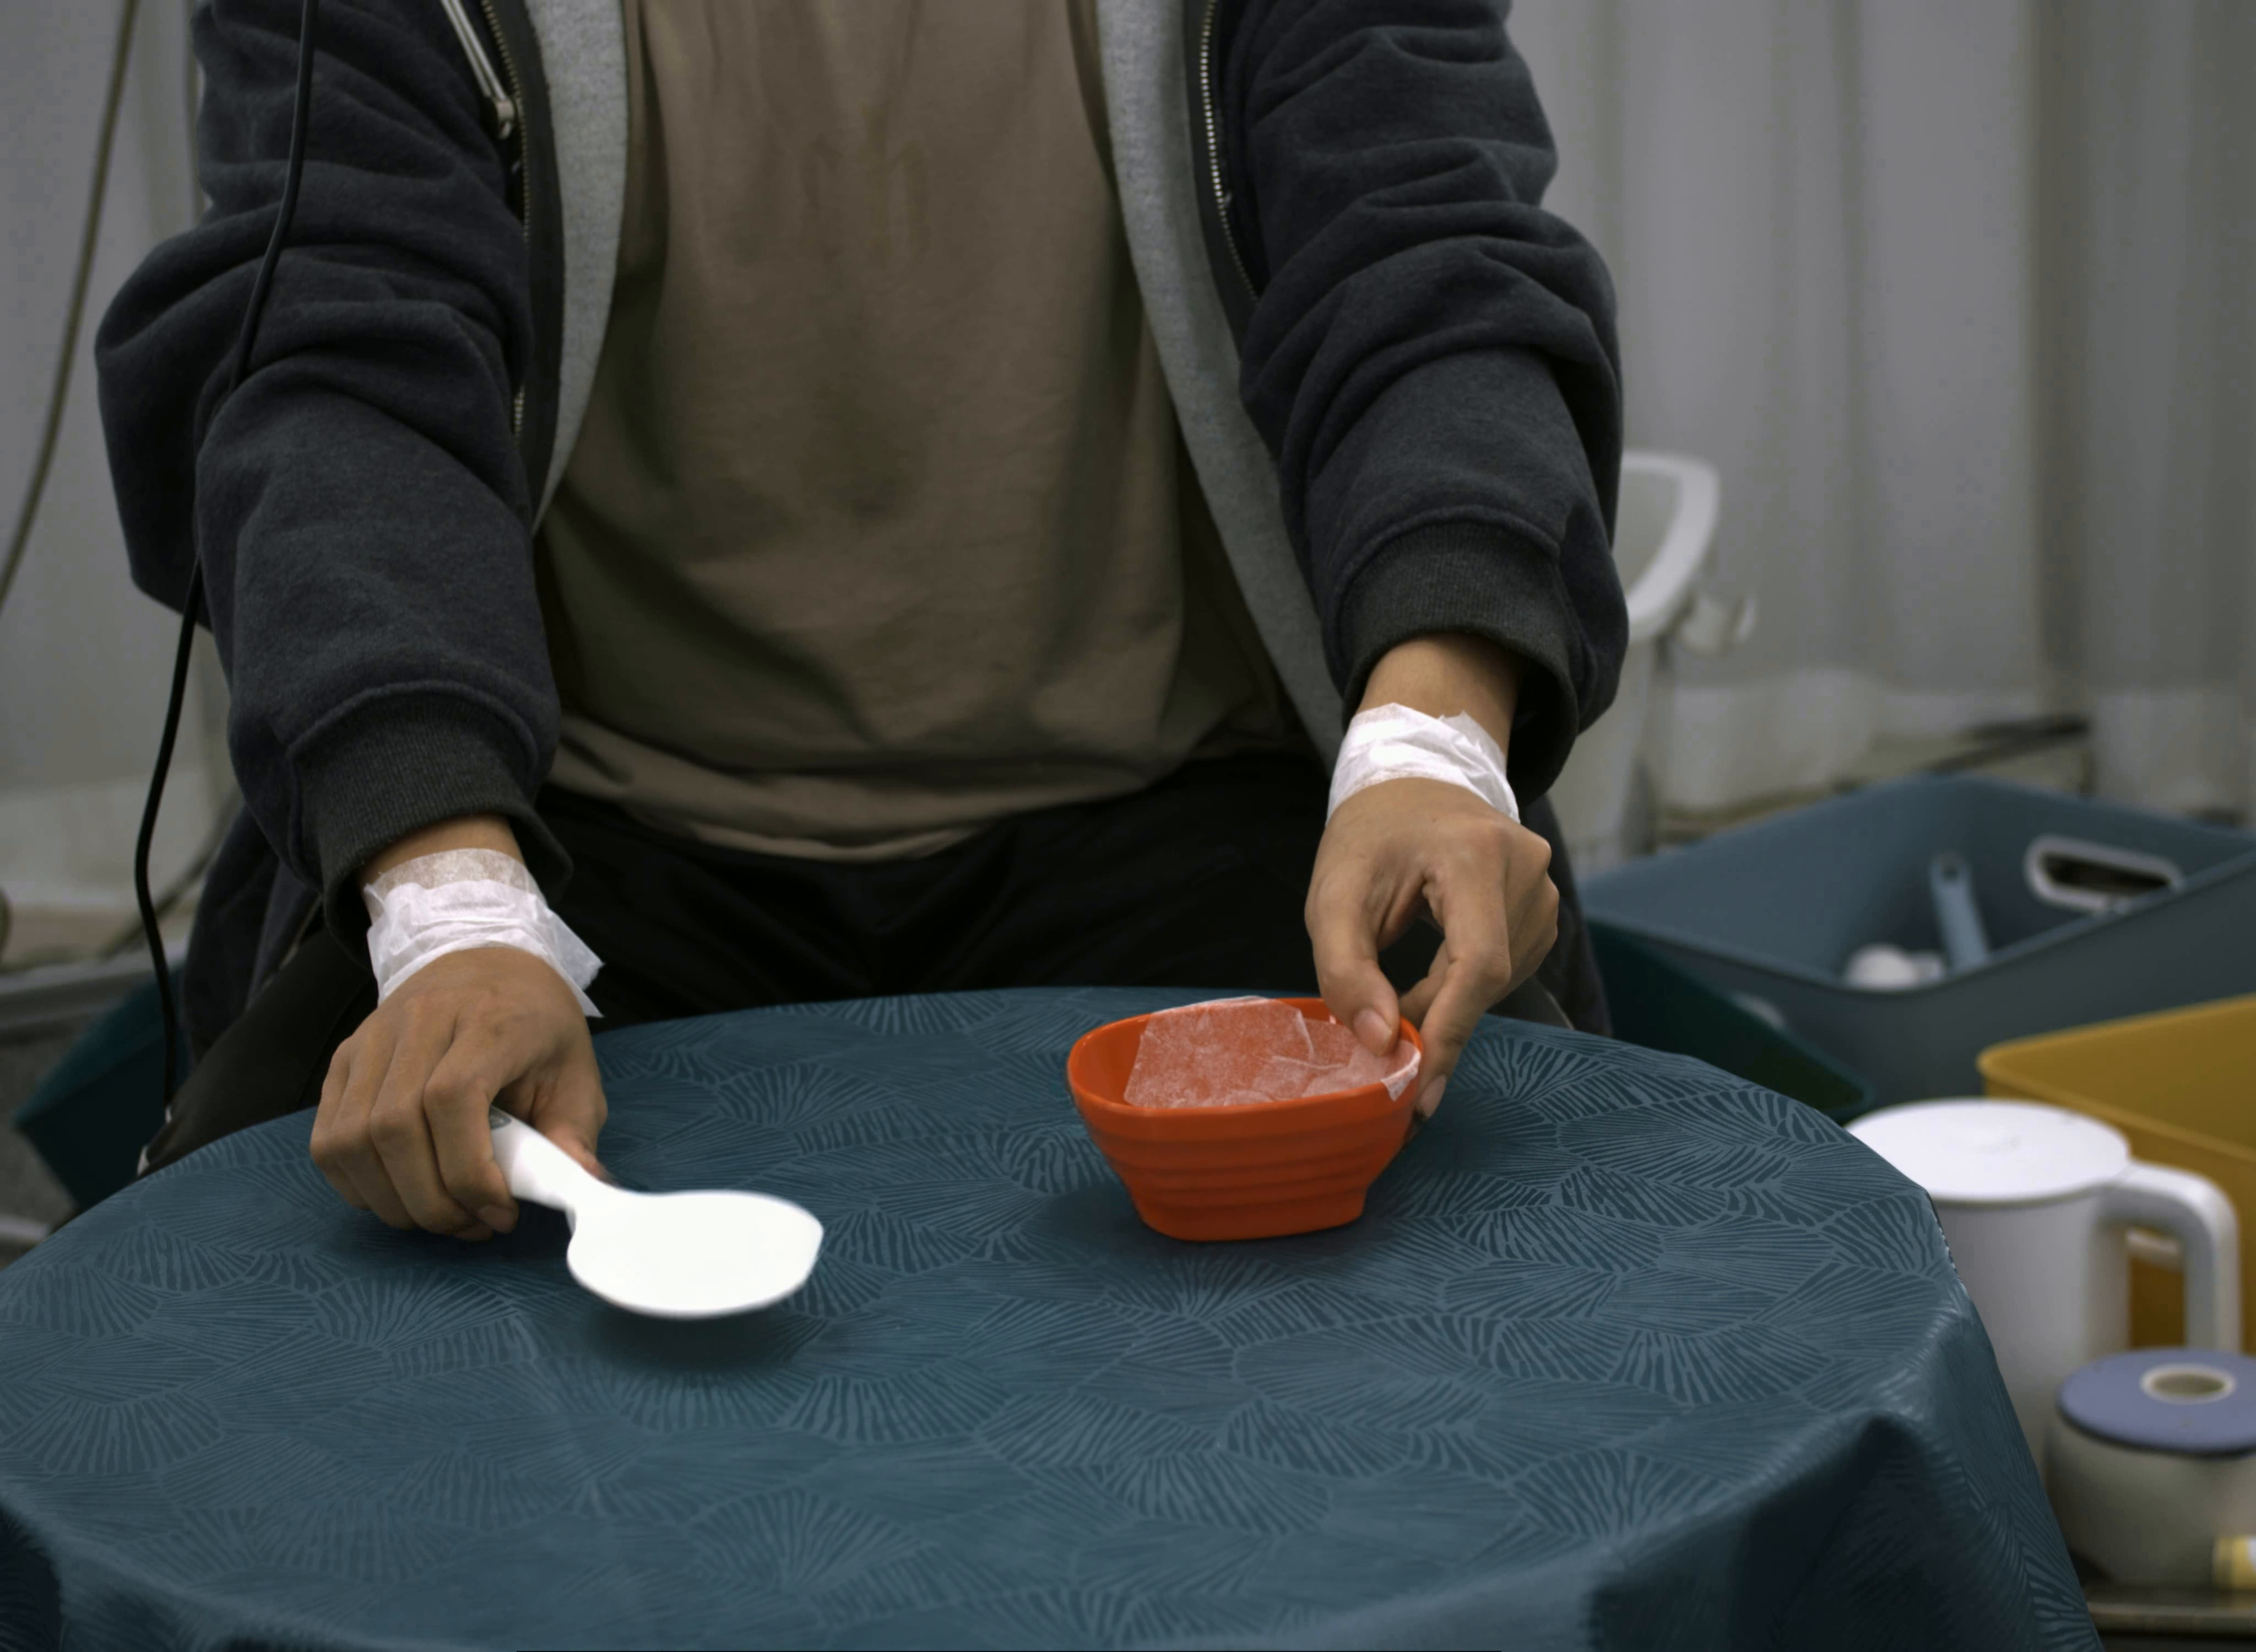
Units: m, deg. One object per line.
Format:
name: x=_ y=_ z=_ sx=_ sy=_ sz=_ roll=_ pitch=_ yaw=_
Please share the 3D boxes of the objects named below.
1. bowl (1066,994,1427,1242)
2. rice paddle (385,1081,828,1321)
bowl: x=0.037 y=0.092 z=1.689 sx=0.118 sy=0.051 sz=0.120 roll=-4 pitch=15 yaw=1
rice paddle: x=-0.161 y=0.115 z=1.655 sx=0.069 sy=0.029 sz=0.207 roll=-23 pitch=24 yaw=-31
